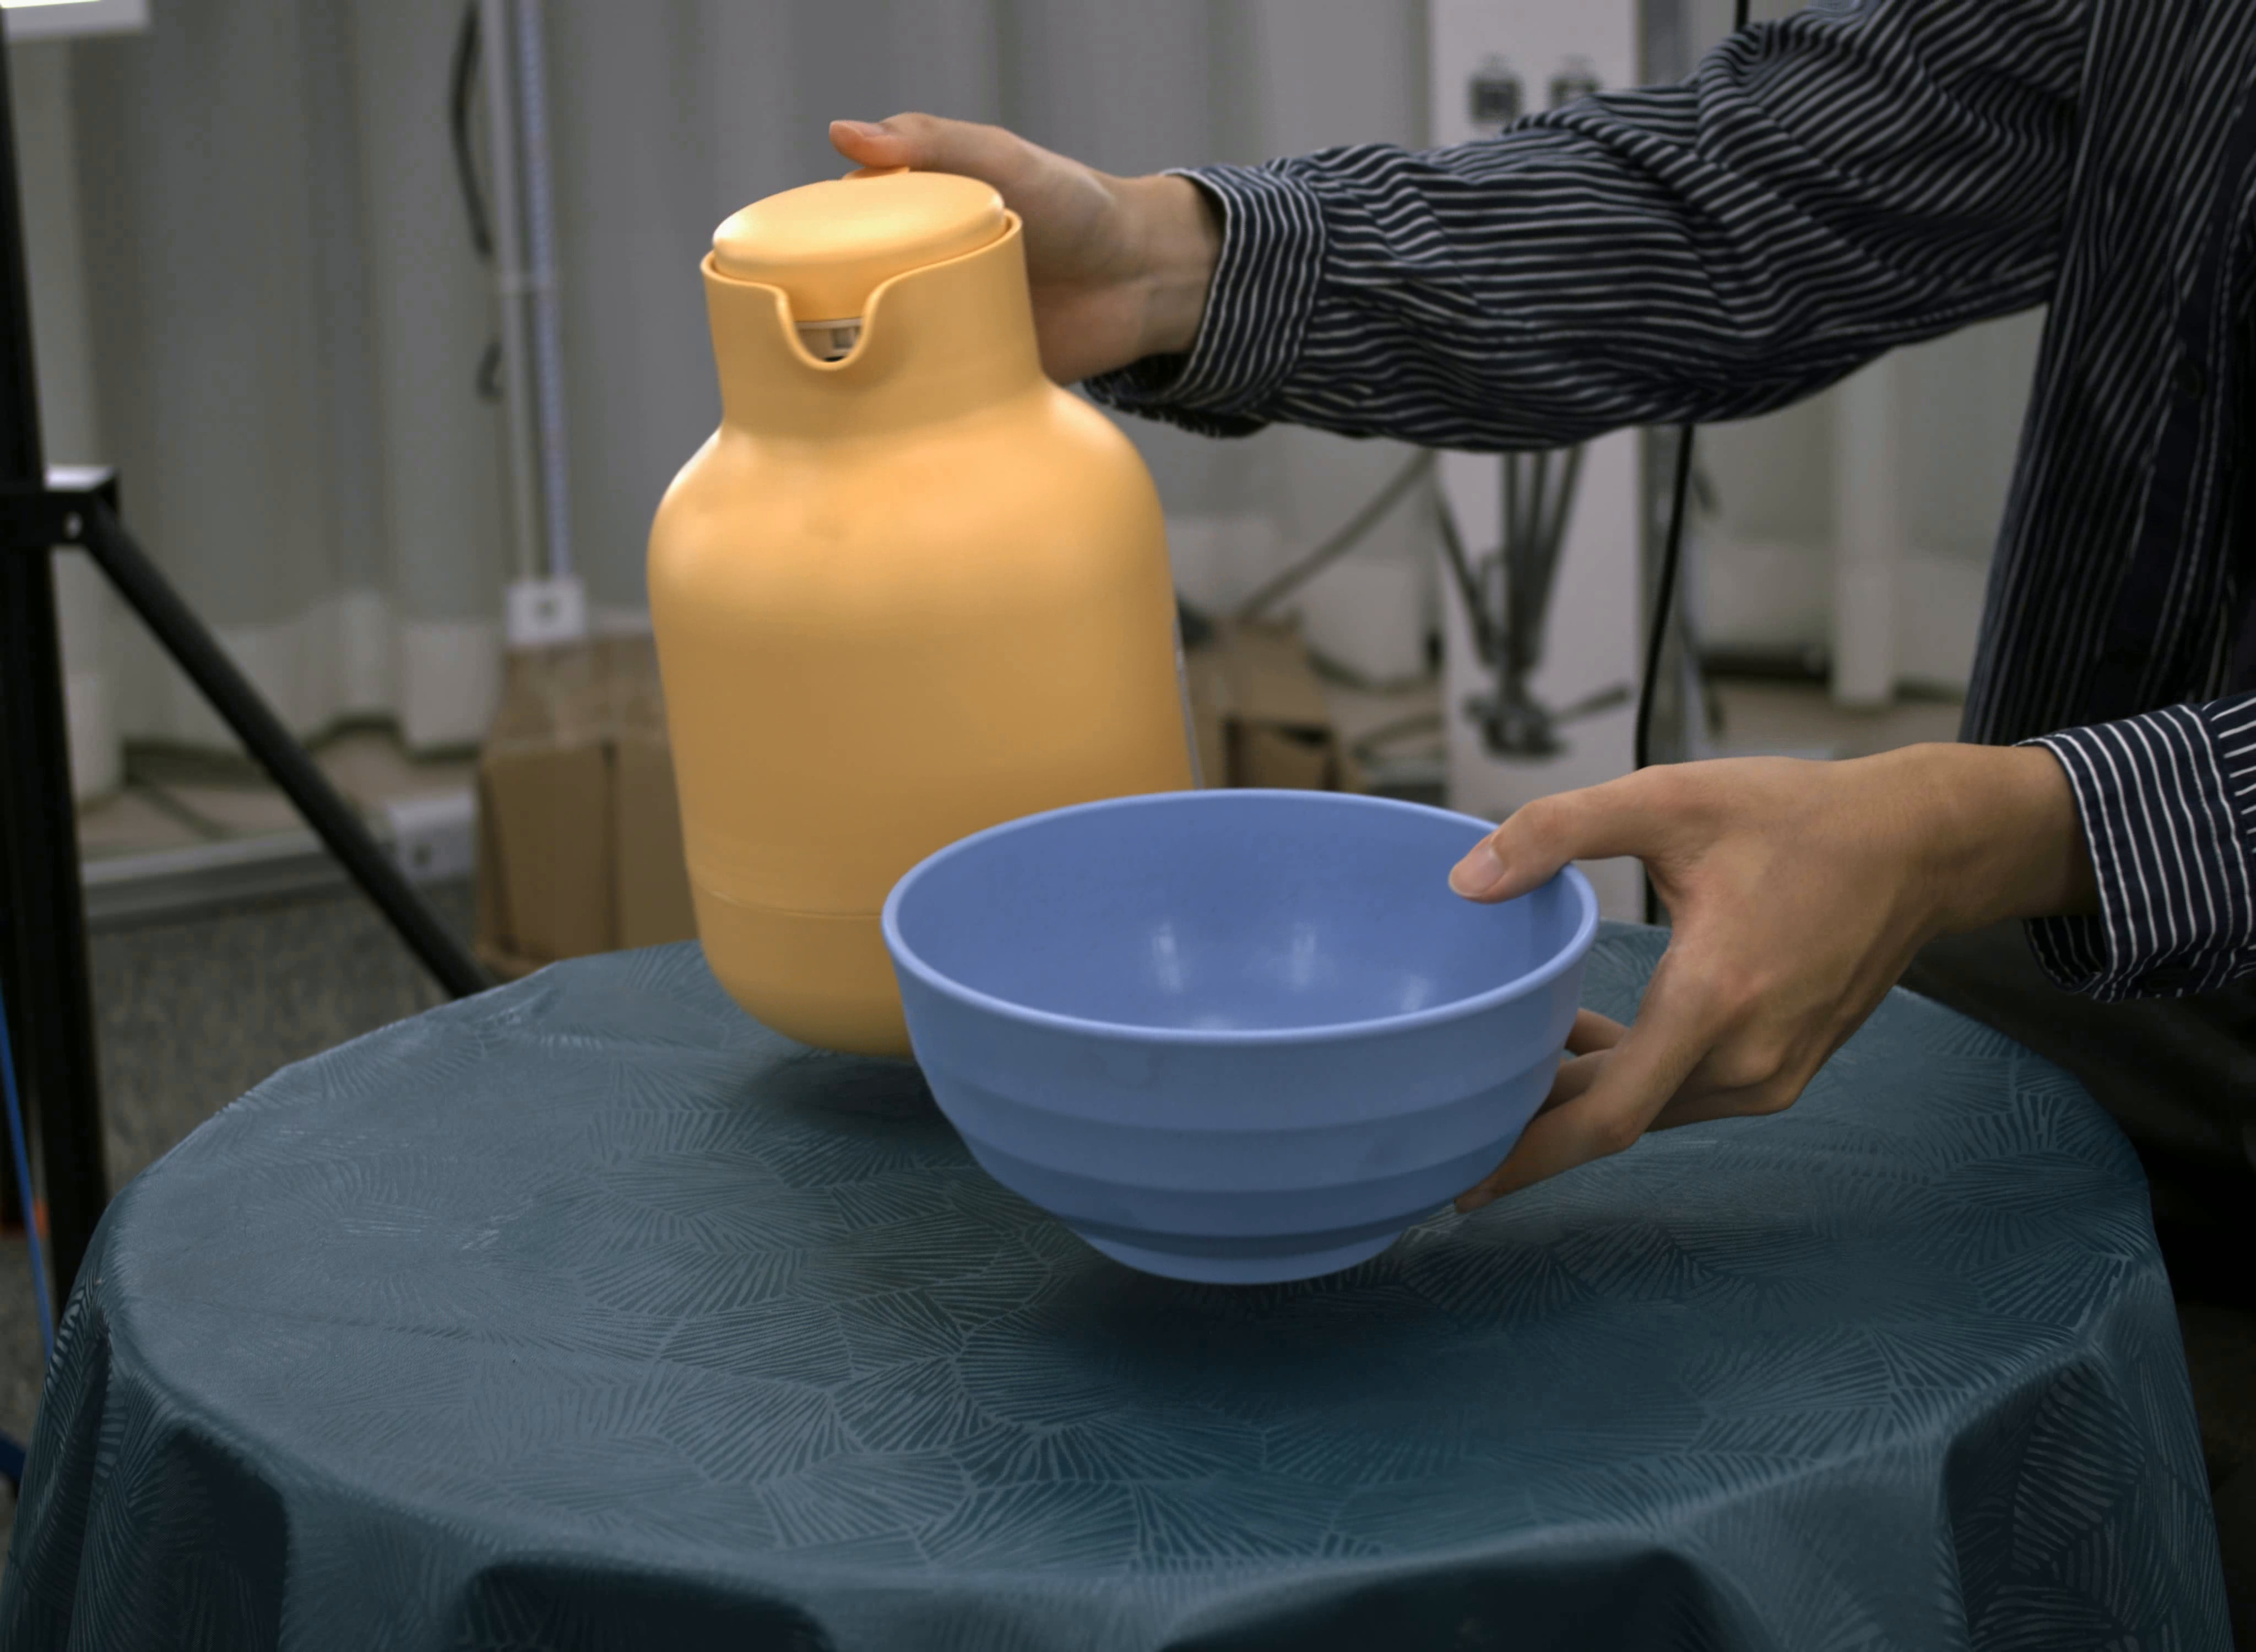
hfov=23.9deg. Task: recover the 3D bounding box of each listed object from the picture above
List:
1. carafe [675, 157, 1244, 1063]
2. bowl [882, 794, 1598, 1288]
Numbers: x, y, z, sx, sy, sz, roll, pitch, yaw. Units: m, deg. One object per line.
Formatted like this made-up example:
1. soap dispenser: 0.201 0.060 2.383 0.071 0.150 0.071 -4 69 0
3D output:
1. carafe: -0.053 -0.075 1.648 0.164 0.259 0.202 -6 19 8
2. bowl: 0.031 0.066 1.465 0.195 0.095 0.198 -2 19 -1
